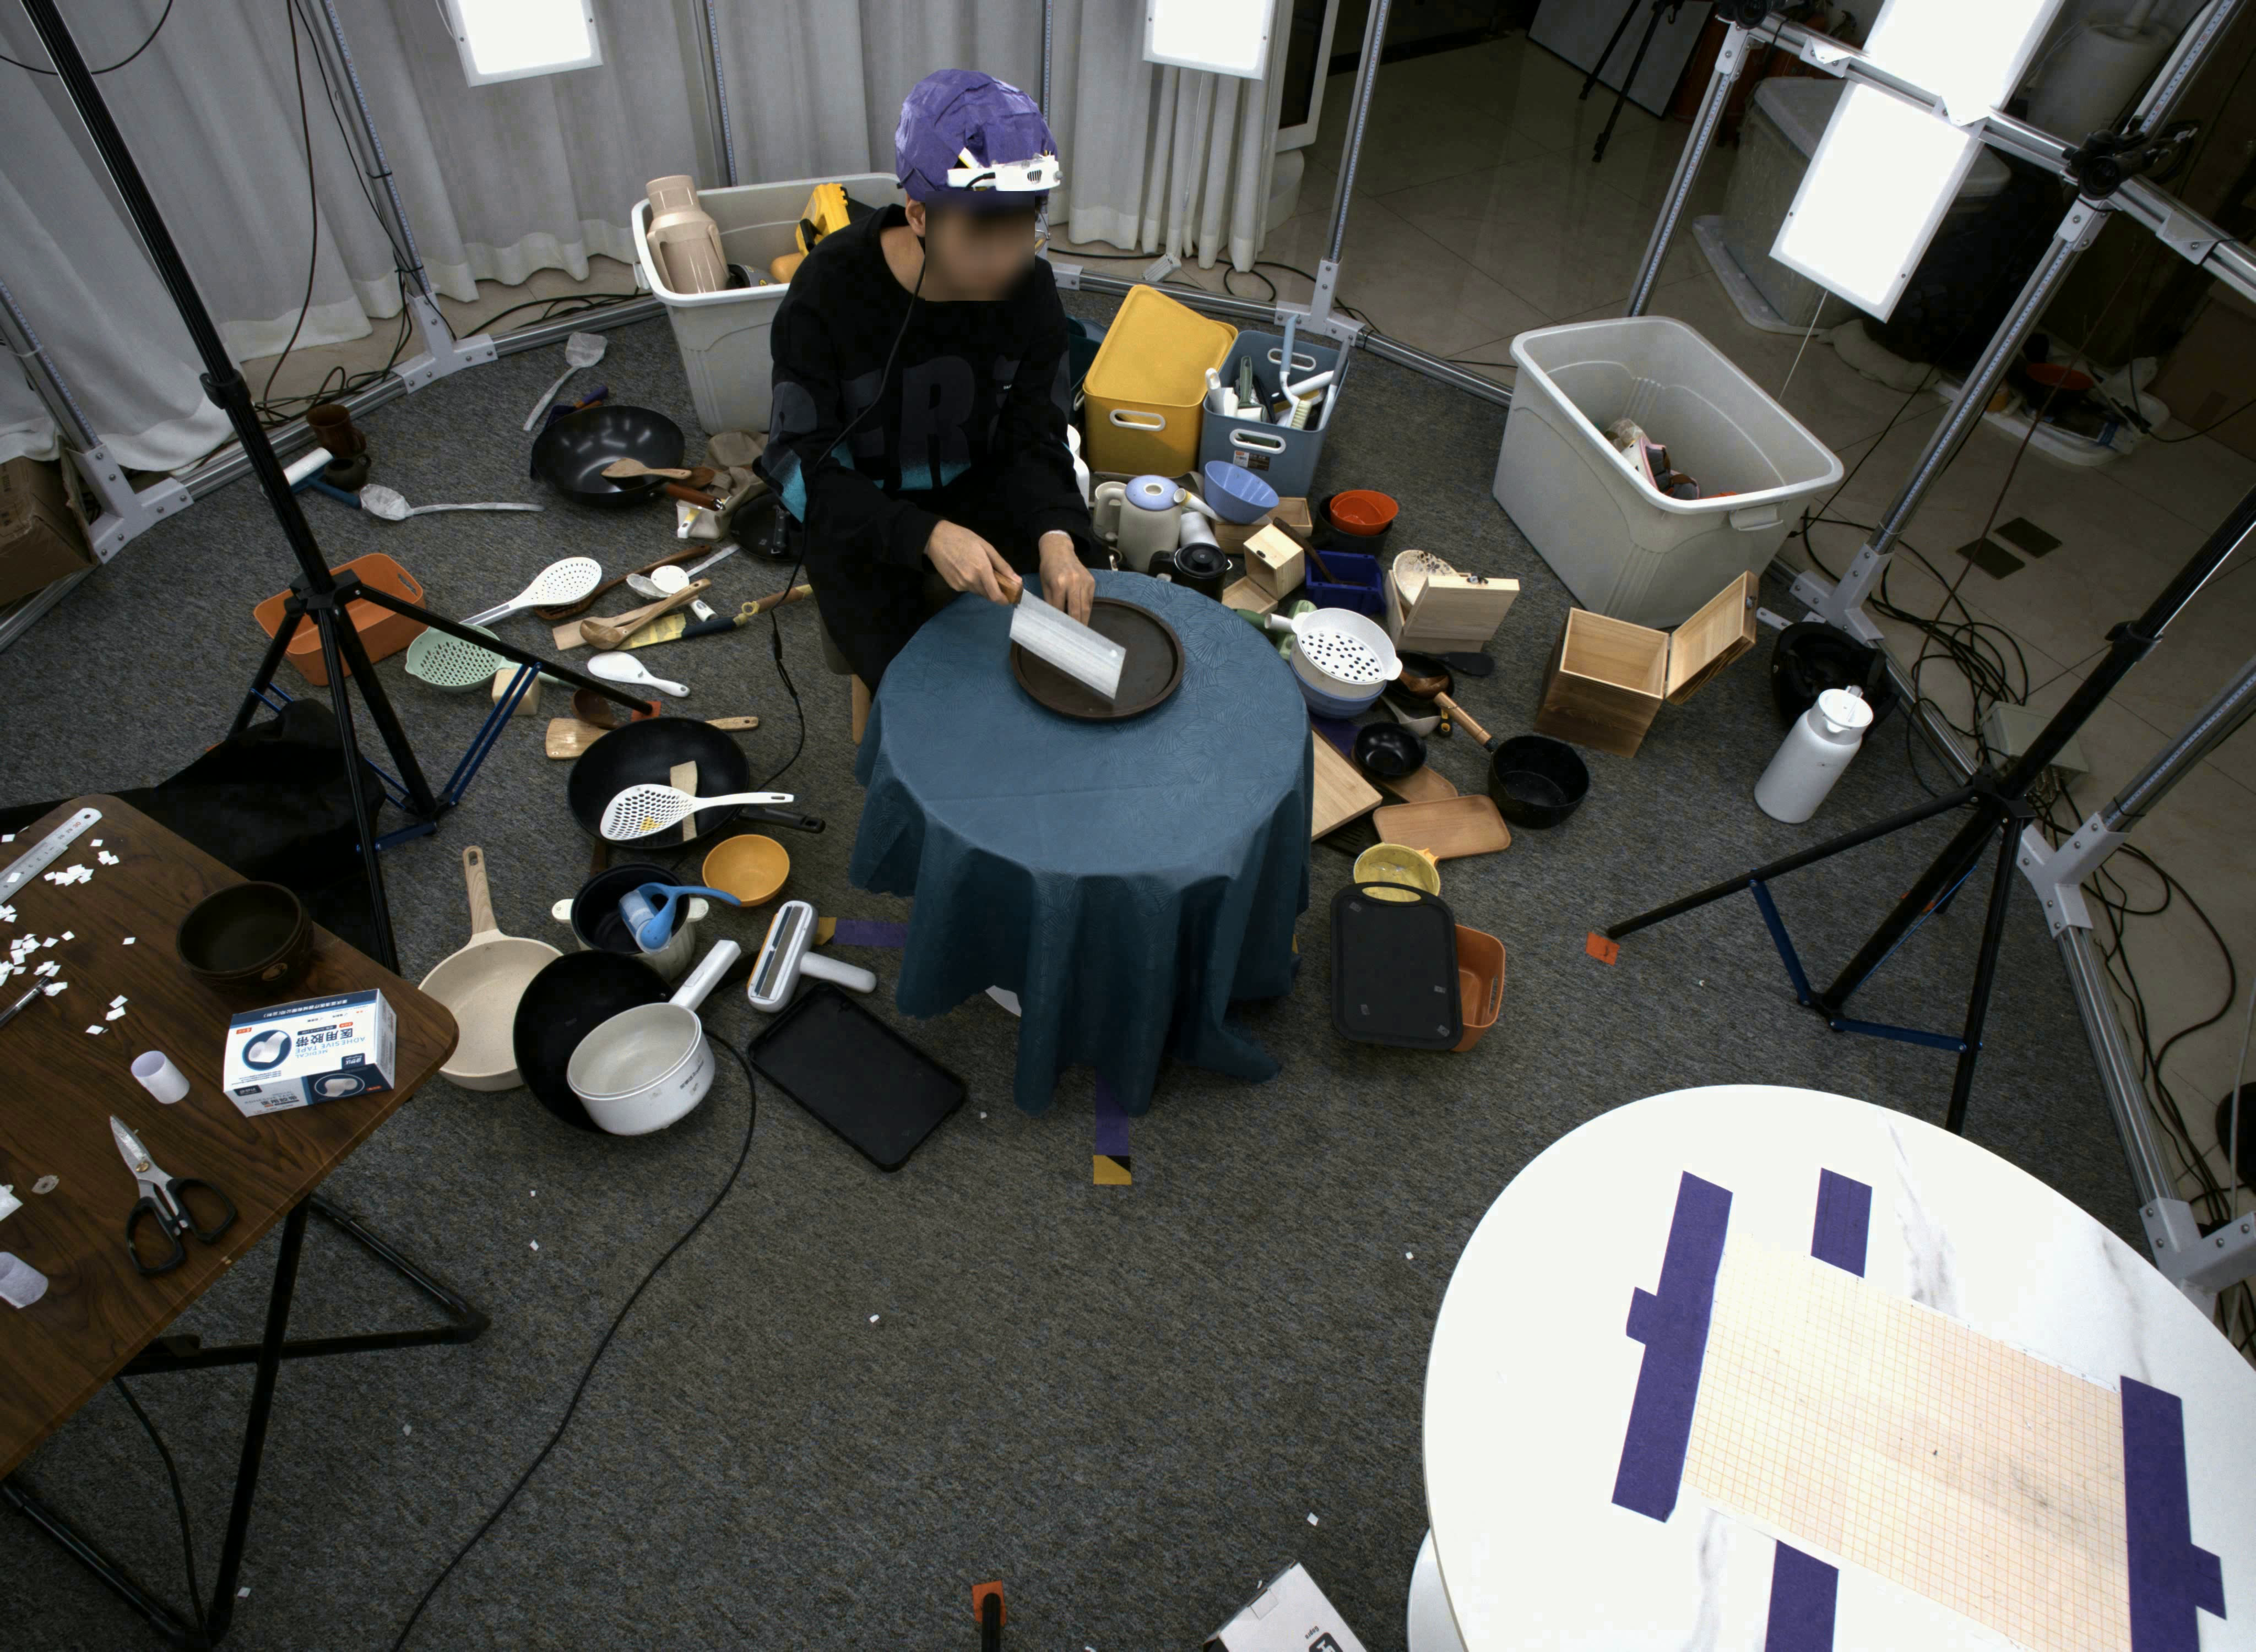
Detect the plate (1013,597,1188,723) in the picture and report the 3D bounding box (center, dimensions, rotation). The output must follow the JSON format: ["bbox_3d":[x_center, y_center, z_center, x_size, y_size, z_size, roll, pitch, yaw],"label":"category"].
[{"bbox_3d":[-0.039,-0.242,1.860,0.254,0.028,0.261,3,48,-3],"label":"plate"}]

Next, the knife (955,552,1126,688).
[{"bbox_3d":[-0.128,-0.288,1.820,0.309,0.091,0.021,33,45,20],"label":"knife"}]
